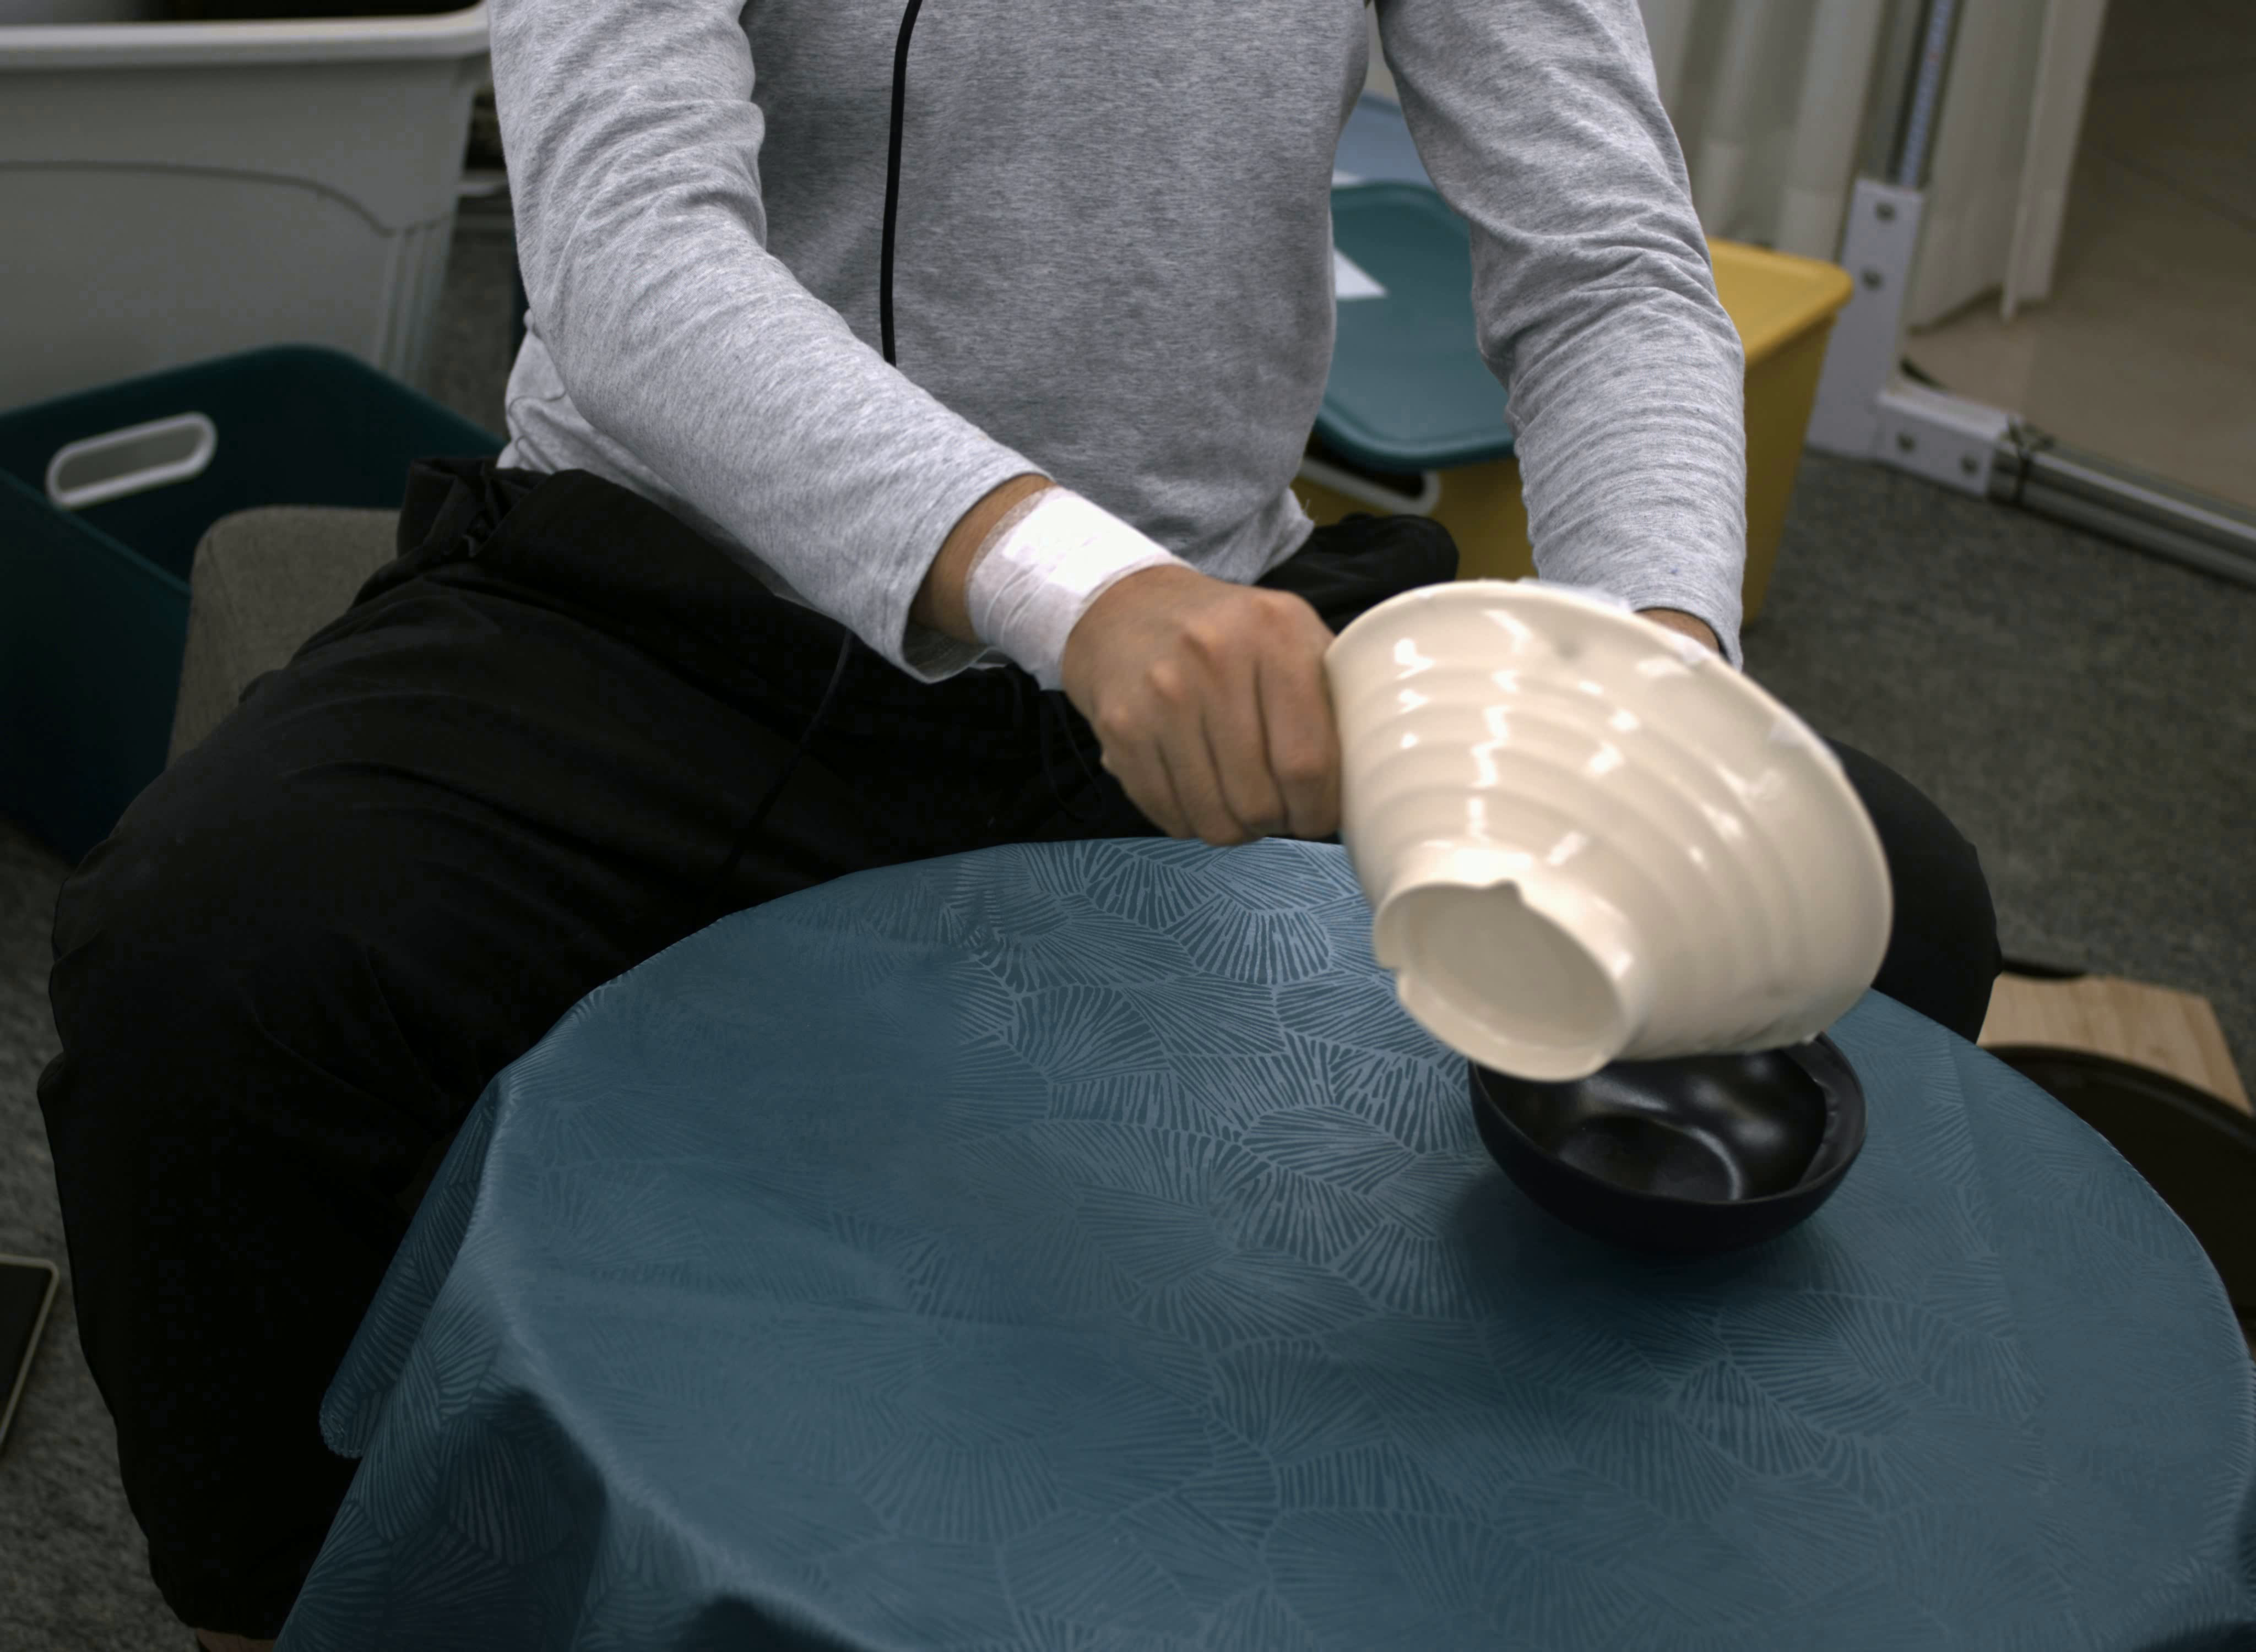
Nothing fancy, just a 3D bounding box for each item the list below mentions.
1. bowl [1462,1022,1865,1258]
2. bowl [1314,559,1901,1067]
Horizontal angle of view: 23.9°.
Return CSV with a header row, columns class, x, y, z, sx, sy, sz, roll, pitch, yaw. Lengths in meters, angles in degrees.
class,x,y,z,sx,sy,sz,roll,pitch,yaw
bowl,0.180,0.108,1.823,0.139,0.049,0.141,6,28,-4
bowl,0.135,0.018,1.675,0.205,0.202,0.078,18,51,21
